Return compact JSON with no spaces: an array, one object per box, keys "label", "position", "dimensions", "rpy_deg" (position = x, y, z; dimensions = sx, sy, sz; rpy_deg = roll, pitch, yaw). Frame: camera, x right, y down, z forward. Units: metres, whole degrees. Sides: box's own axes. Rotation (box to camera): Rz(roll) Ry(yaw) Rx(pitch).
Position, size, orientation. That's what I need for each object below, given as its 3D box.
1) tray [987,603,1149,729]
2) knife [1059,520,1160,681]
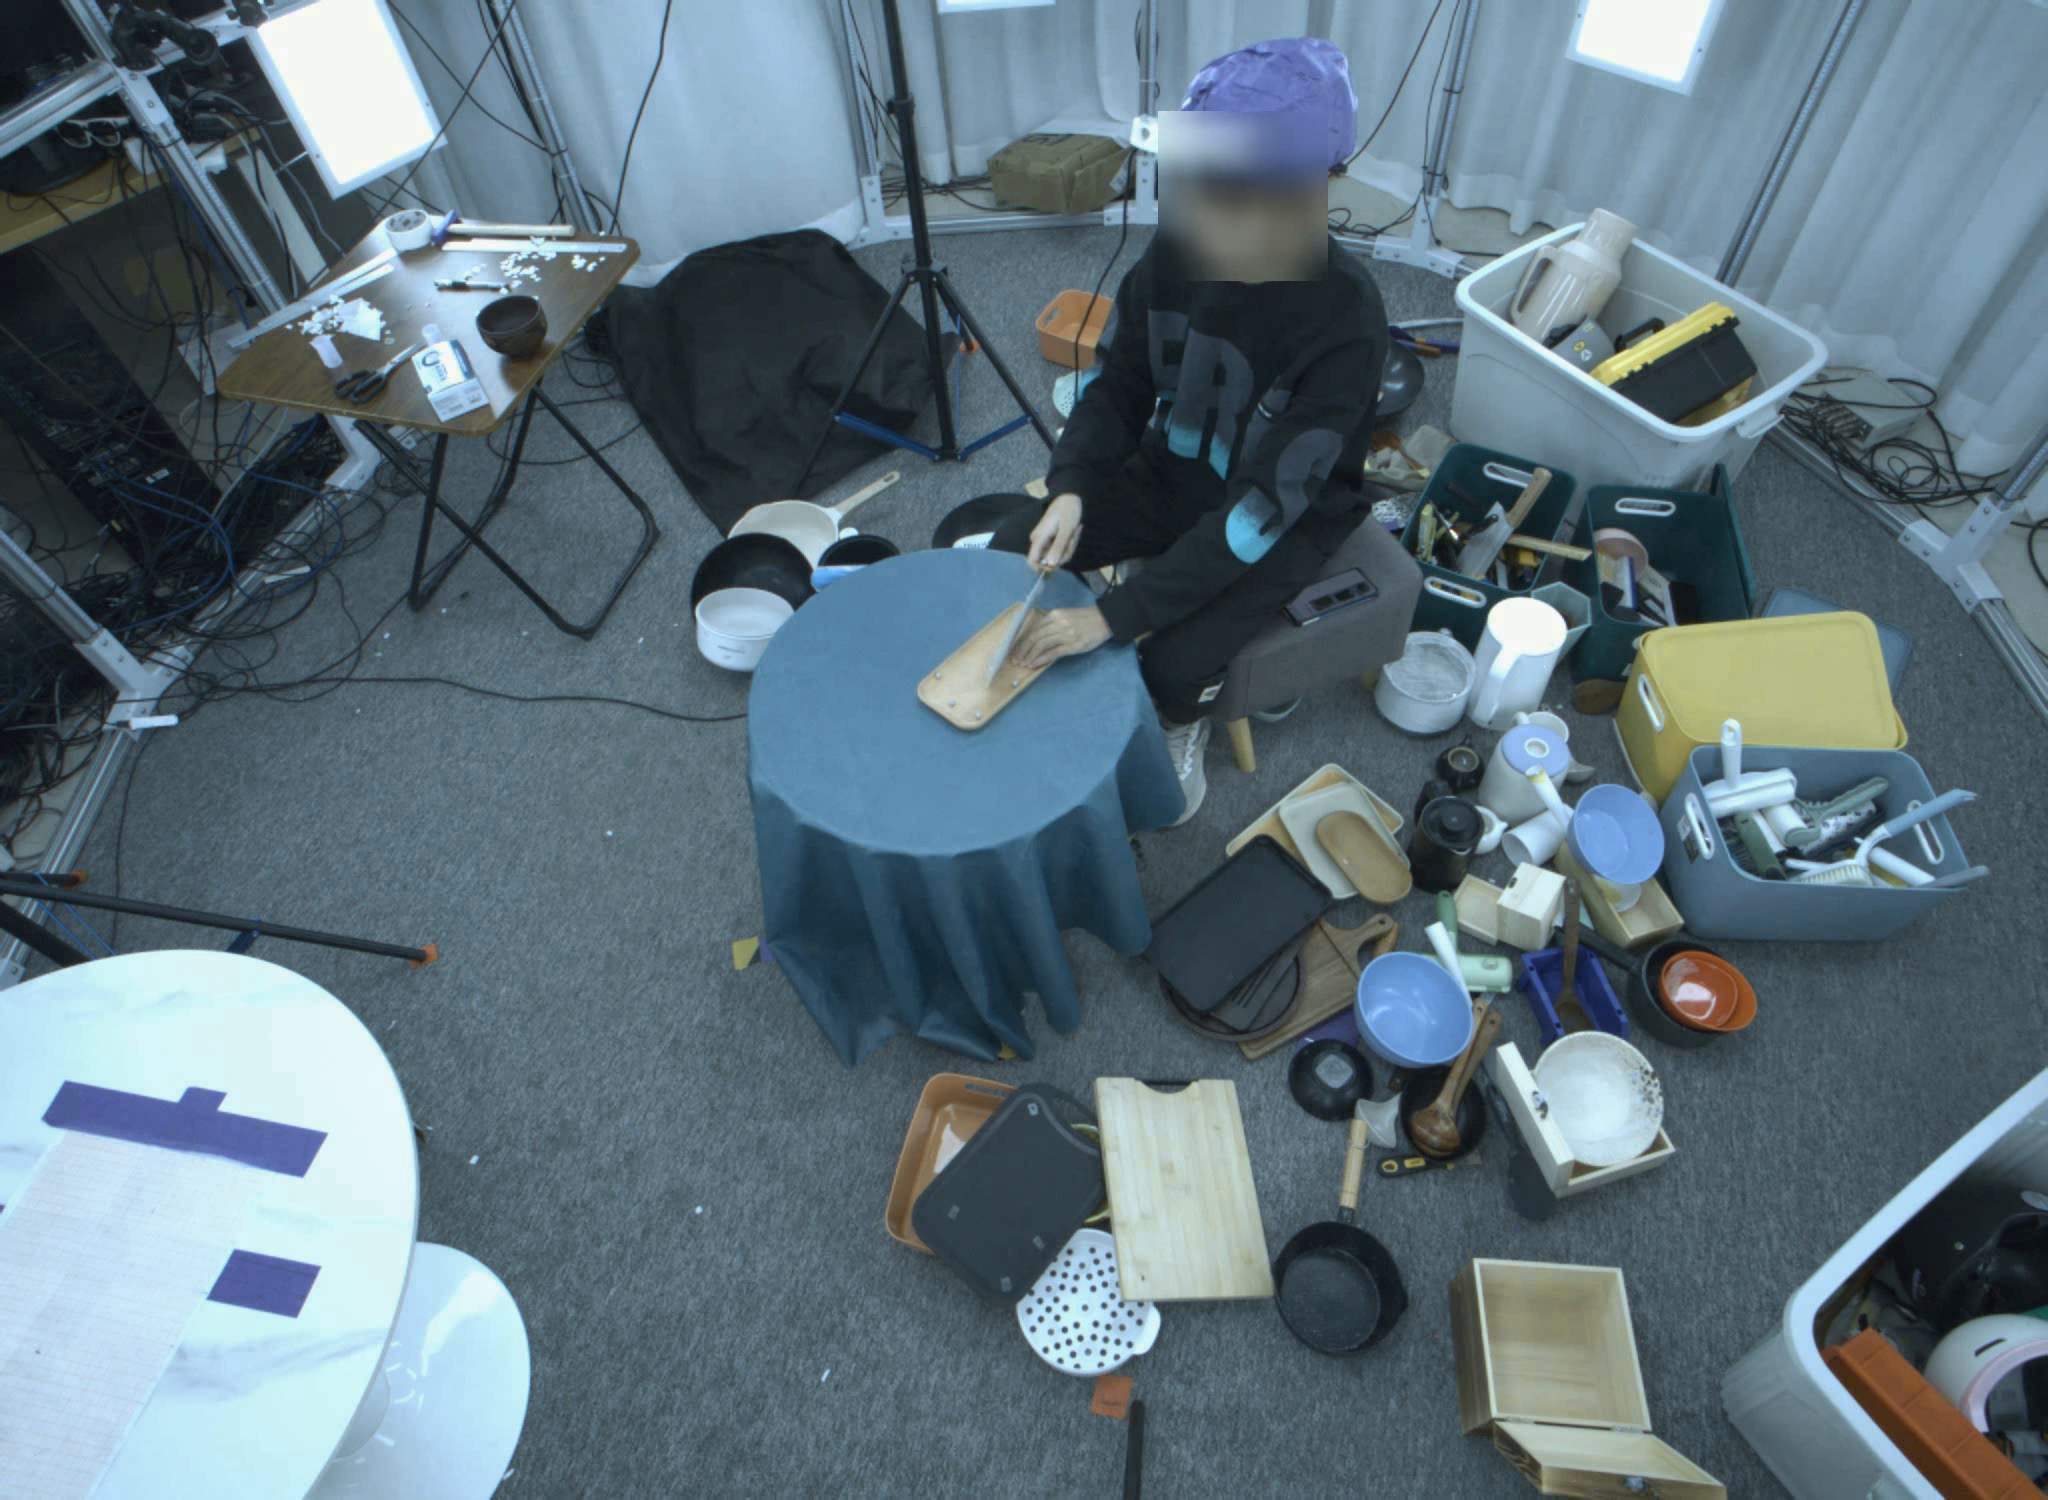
[{"label":"tray","position":[0.068,-0.129,1.866],"dimensions":[0.252,0.023,0.128],"rpy_deg":[-37,63,-22]},{"label":"knife","position":[0.127,-0.226,1.868],"dimensions":[0.021,0.093,0.306],"rpy_deg":[29,63,5]}]
